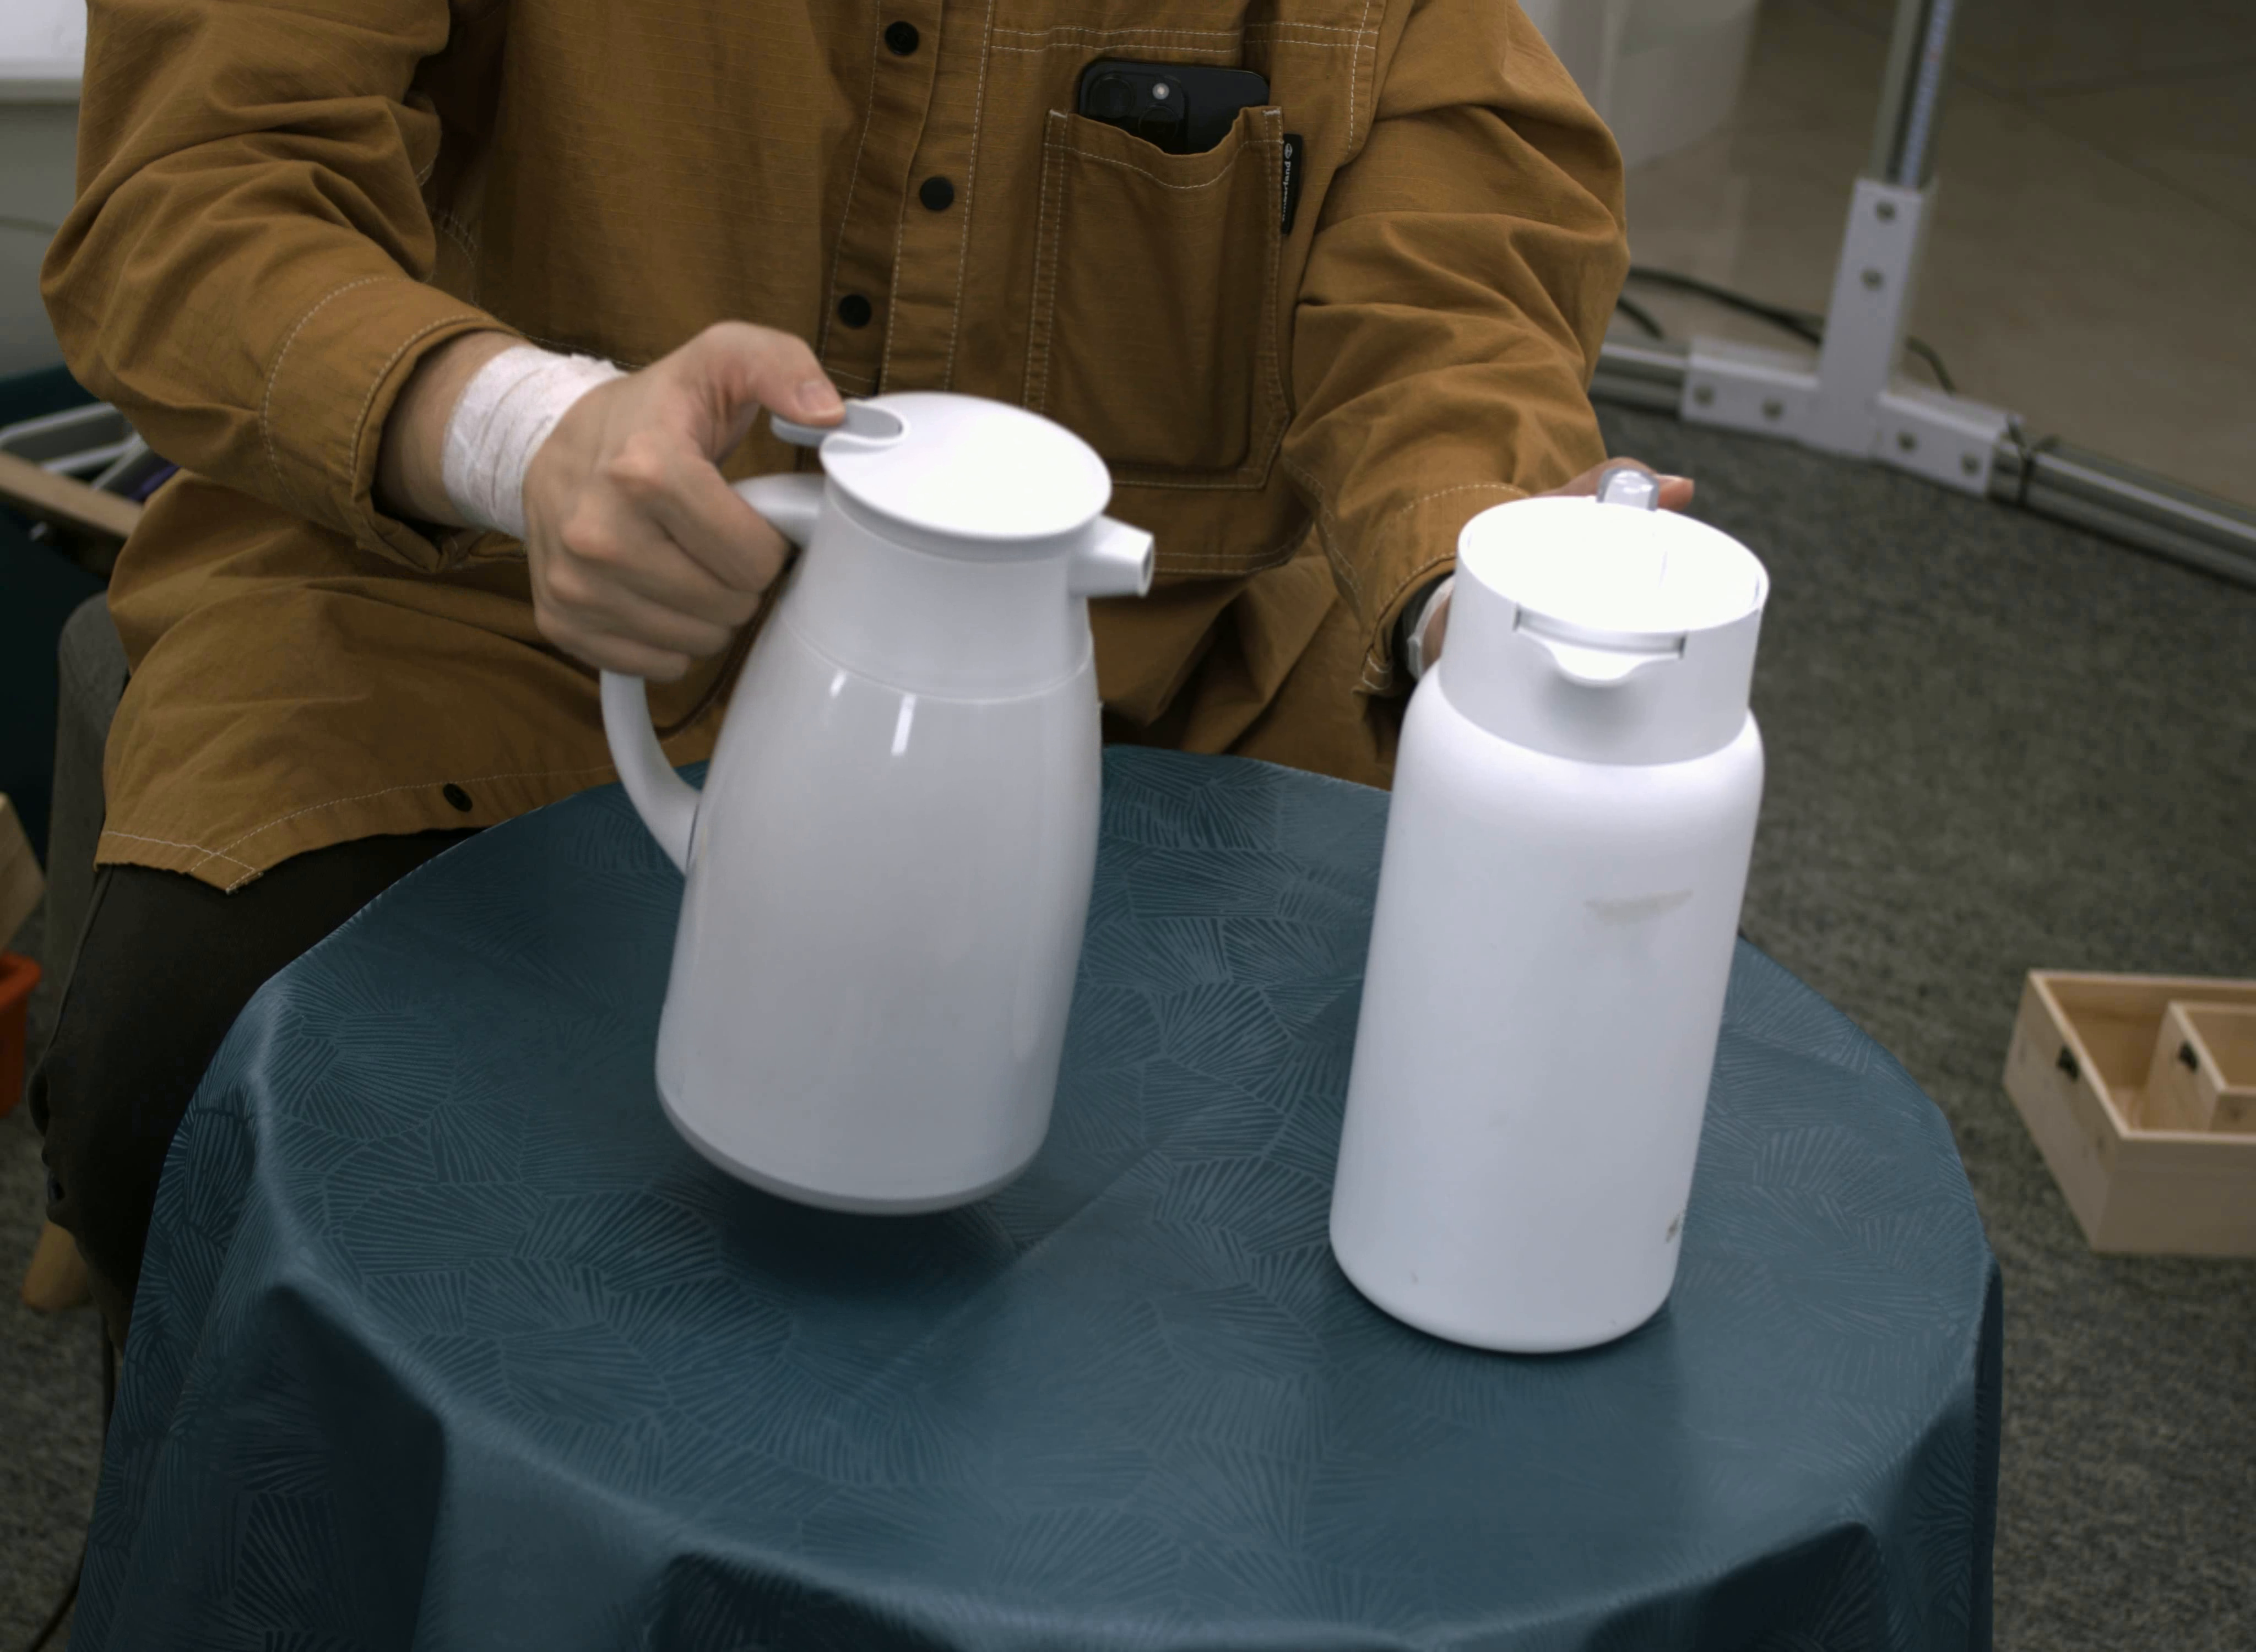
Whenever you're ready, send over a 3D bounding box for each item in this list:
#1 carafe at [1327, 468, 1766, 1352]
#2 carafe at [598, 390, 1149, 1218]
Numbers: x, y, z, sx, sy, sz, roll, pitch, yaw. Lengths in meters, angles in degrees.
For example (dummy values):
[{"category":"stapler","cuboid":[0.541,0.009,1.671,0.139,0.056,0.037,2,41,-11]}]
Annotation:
[{"category":"carafe","cuboid":[0.138,0.023,1.738,0.124,0.268,0.173,7,27,6]},{"category":"carafe","cuboid":[-0.090,-0.017,1.697,0.167,0.248,0.133,14,29,6]}]
